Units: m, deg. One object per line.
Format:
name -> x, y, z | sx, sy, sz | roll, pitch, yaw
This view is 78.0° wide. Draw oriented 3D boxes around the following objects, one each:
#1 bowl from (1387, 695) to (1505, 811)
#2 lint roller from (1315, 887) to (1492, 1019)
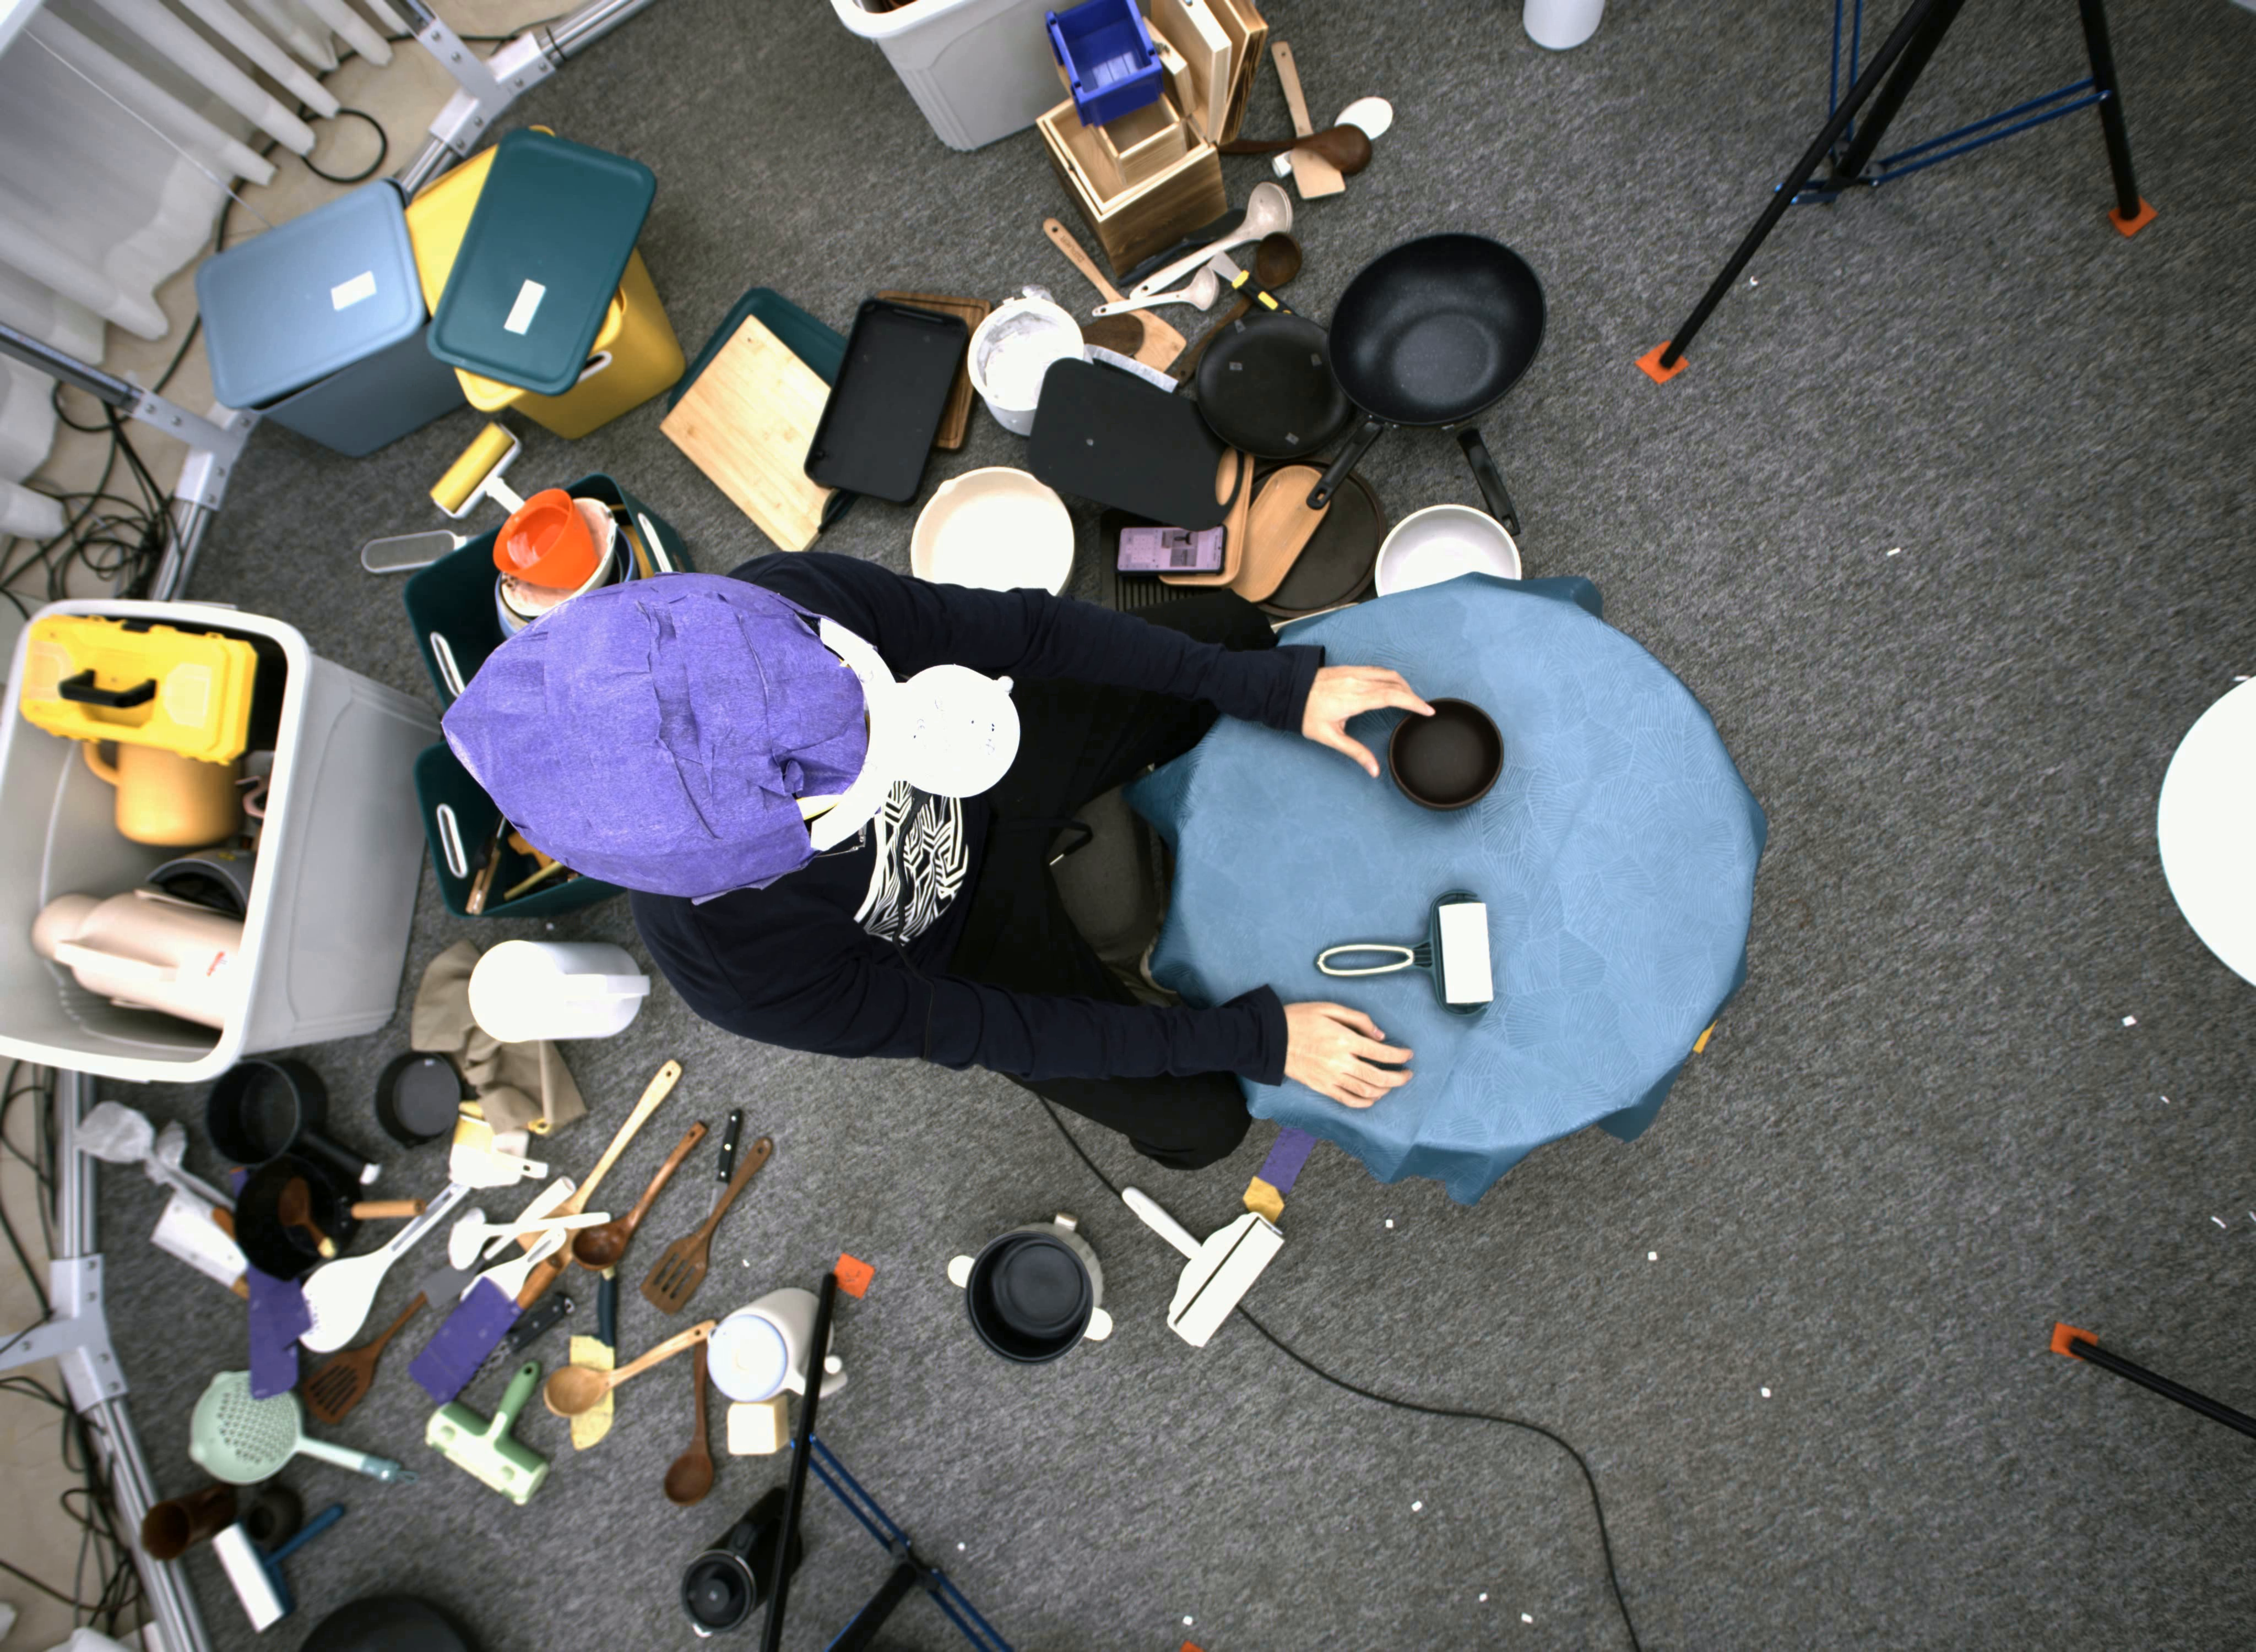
bowl -> 0.328, -0.074, 1.420 | 0.118, 0.070, 0.117 | -1, 87, 12
lint roller -> 0.282, 0.135, 1.434 | 0.181, 0.048, 0.133 | -5, 85, 13
